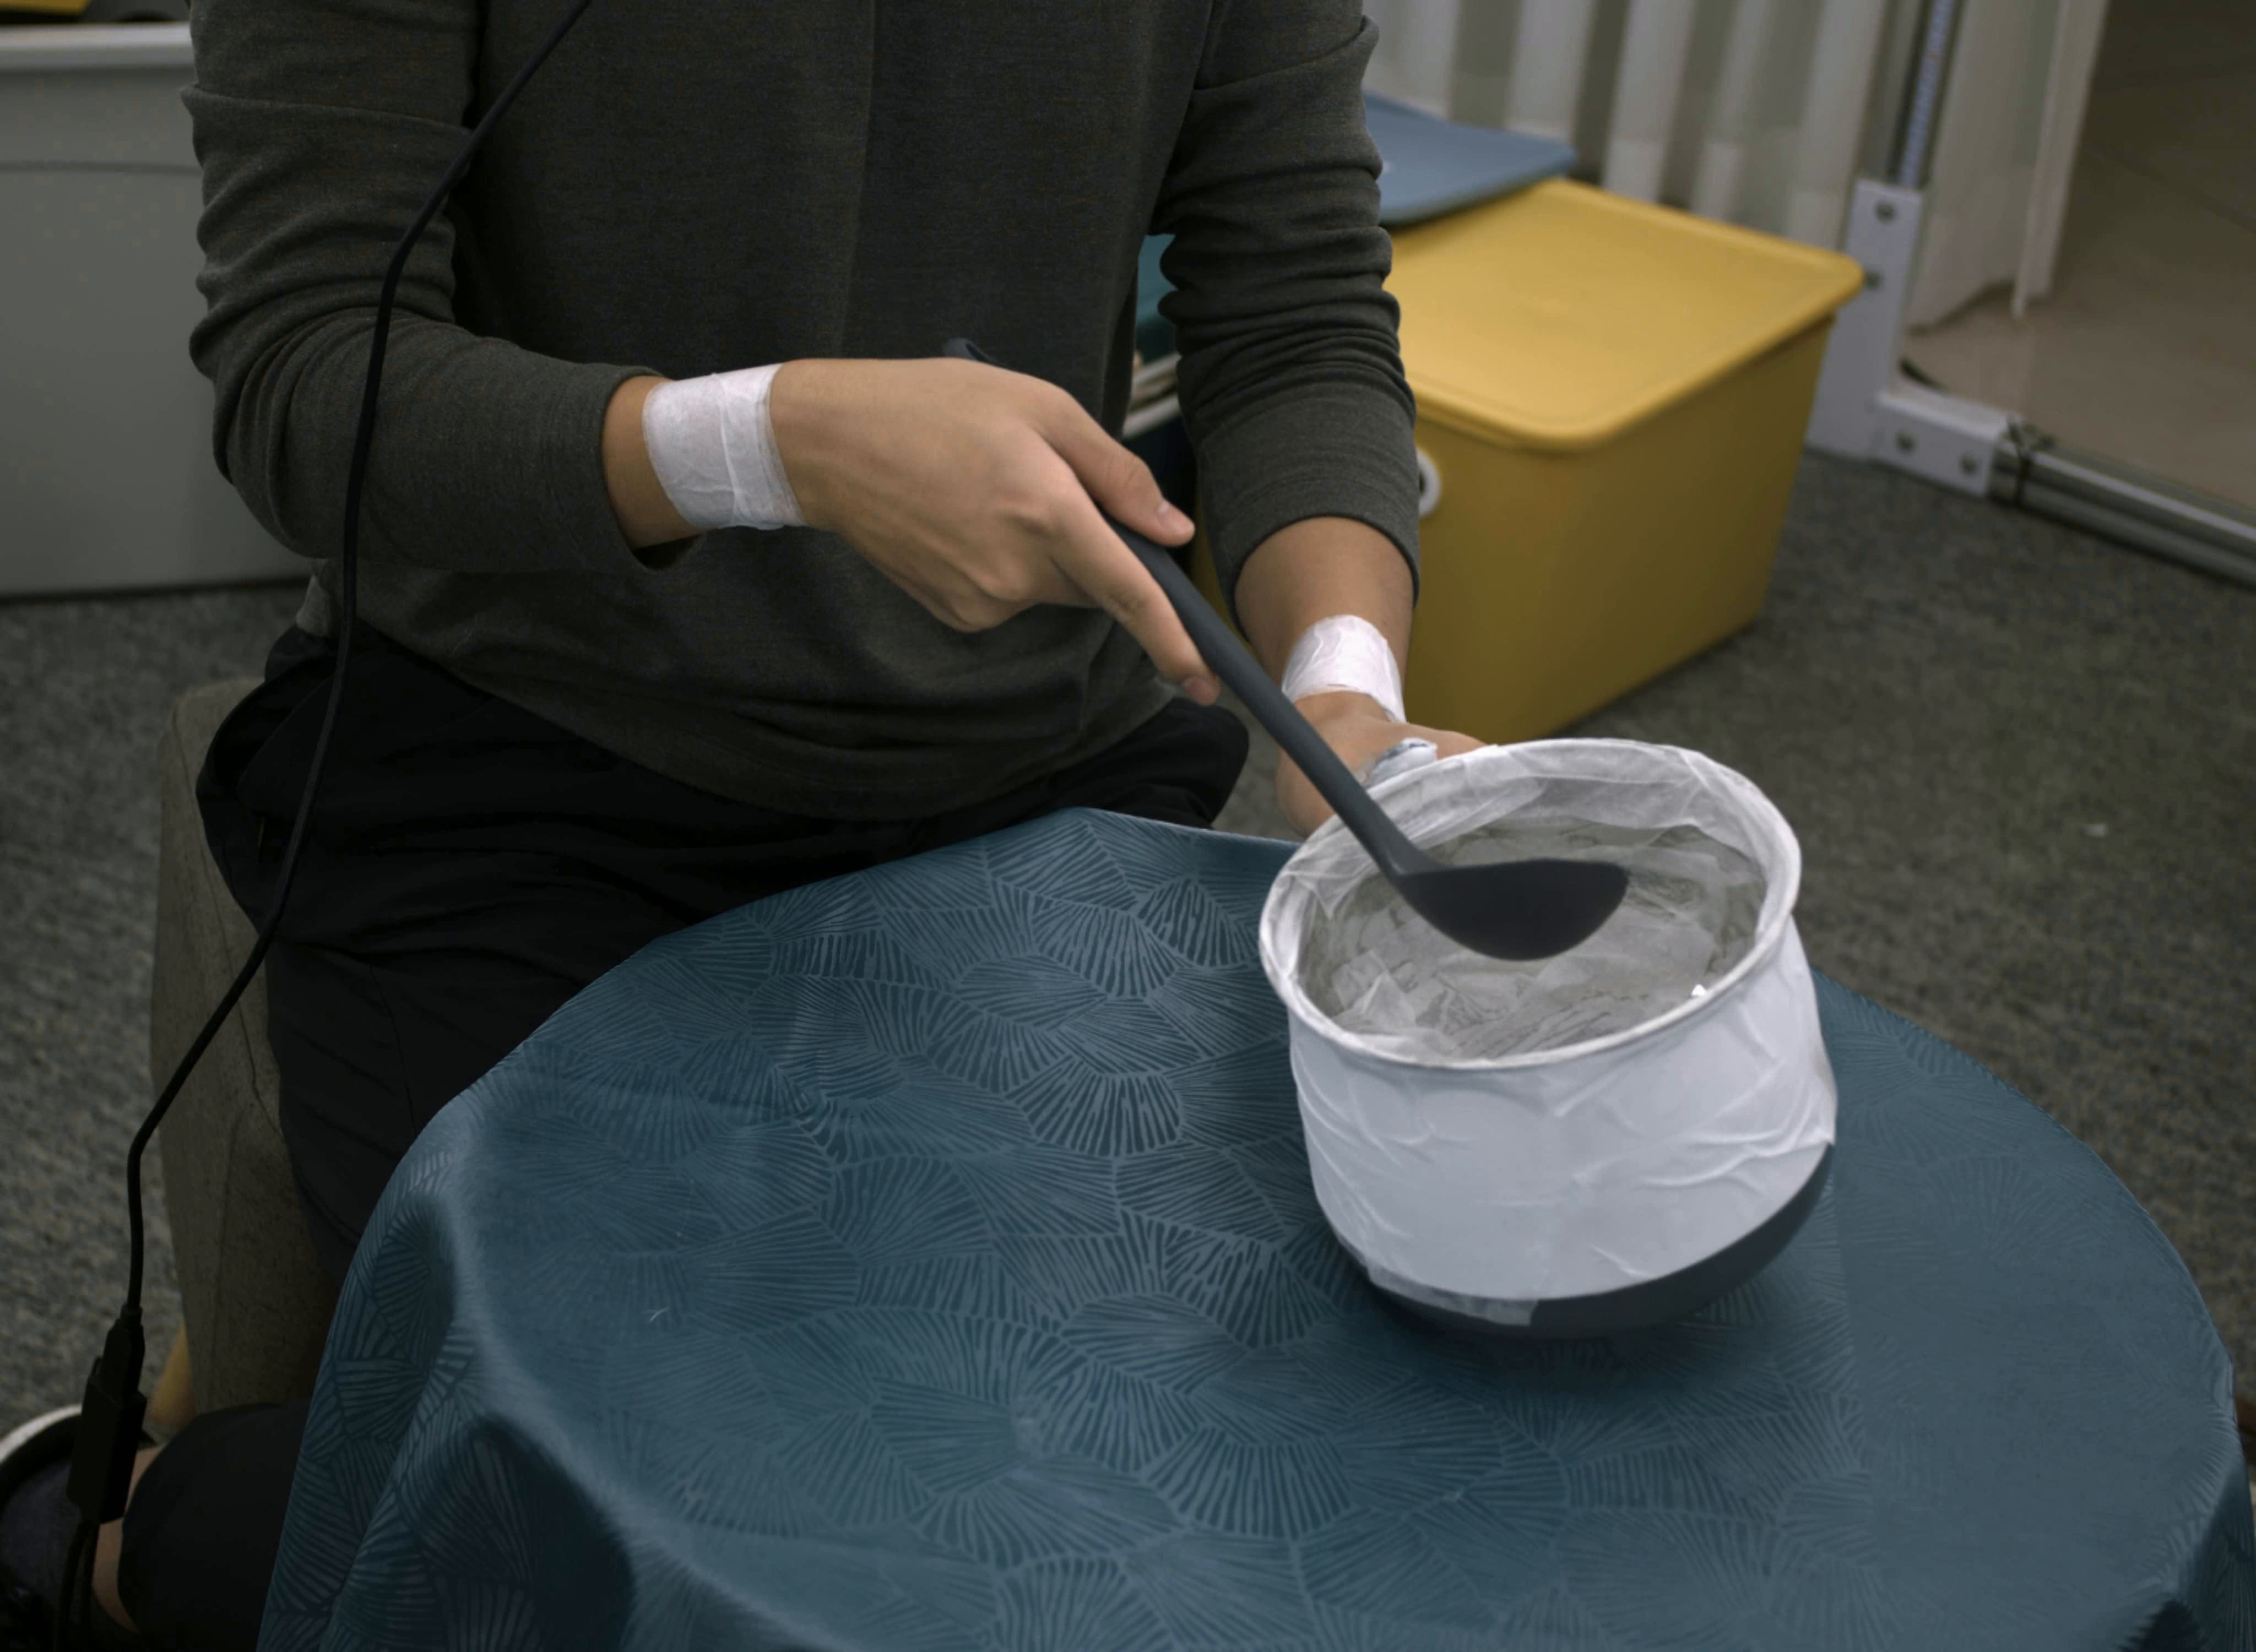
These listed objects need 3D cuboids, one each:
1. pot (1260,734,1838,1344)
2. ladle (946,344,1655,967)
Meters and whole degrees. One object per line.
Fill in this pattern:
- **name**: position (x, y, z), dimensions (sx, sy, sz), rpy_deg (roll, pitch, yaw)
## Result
- **pot**: position (0.131, 0.060, 1.773), dimensions (0.178, 0.136, 0.236), rpy_deg (-21, 34, -12)
- **ladle**: position (0.049, -0.070, 1.760), dimensions (0.316, 0.064, 0.085), rpy_deg (49, 23, 23)
